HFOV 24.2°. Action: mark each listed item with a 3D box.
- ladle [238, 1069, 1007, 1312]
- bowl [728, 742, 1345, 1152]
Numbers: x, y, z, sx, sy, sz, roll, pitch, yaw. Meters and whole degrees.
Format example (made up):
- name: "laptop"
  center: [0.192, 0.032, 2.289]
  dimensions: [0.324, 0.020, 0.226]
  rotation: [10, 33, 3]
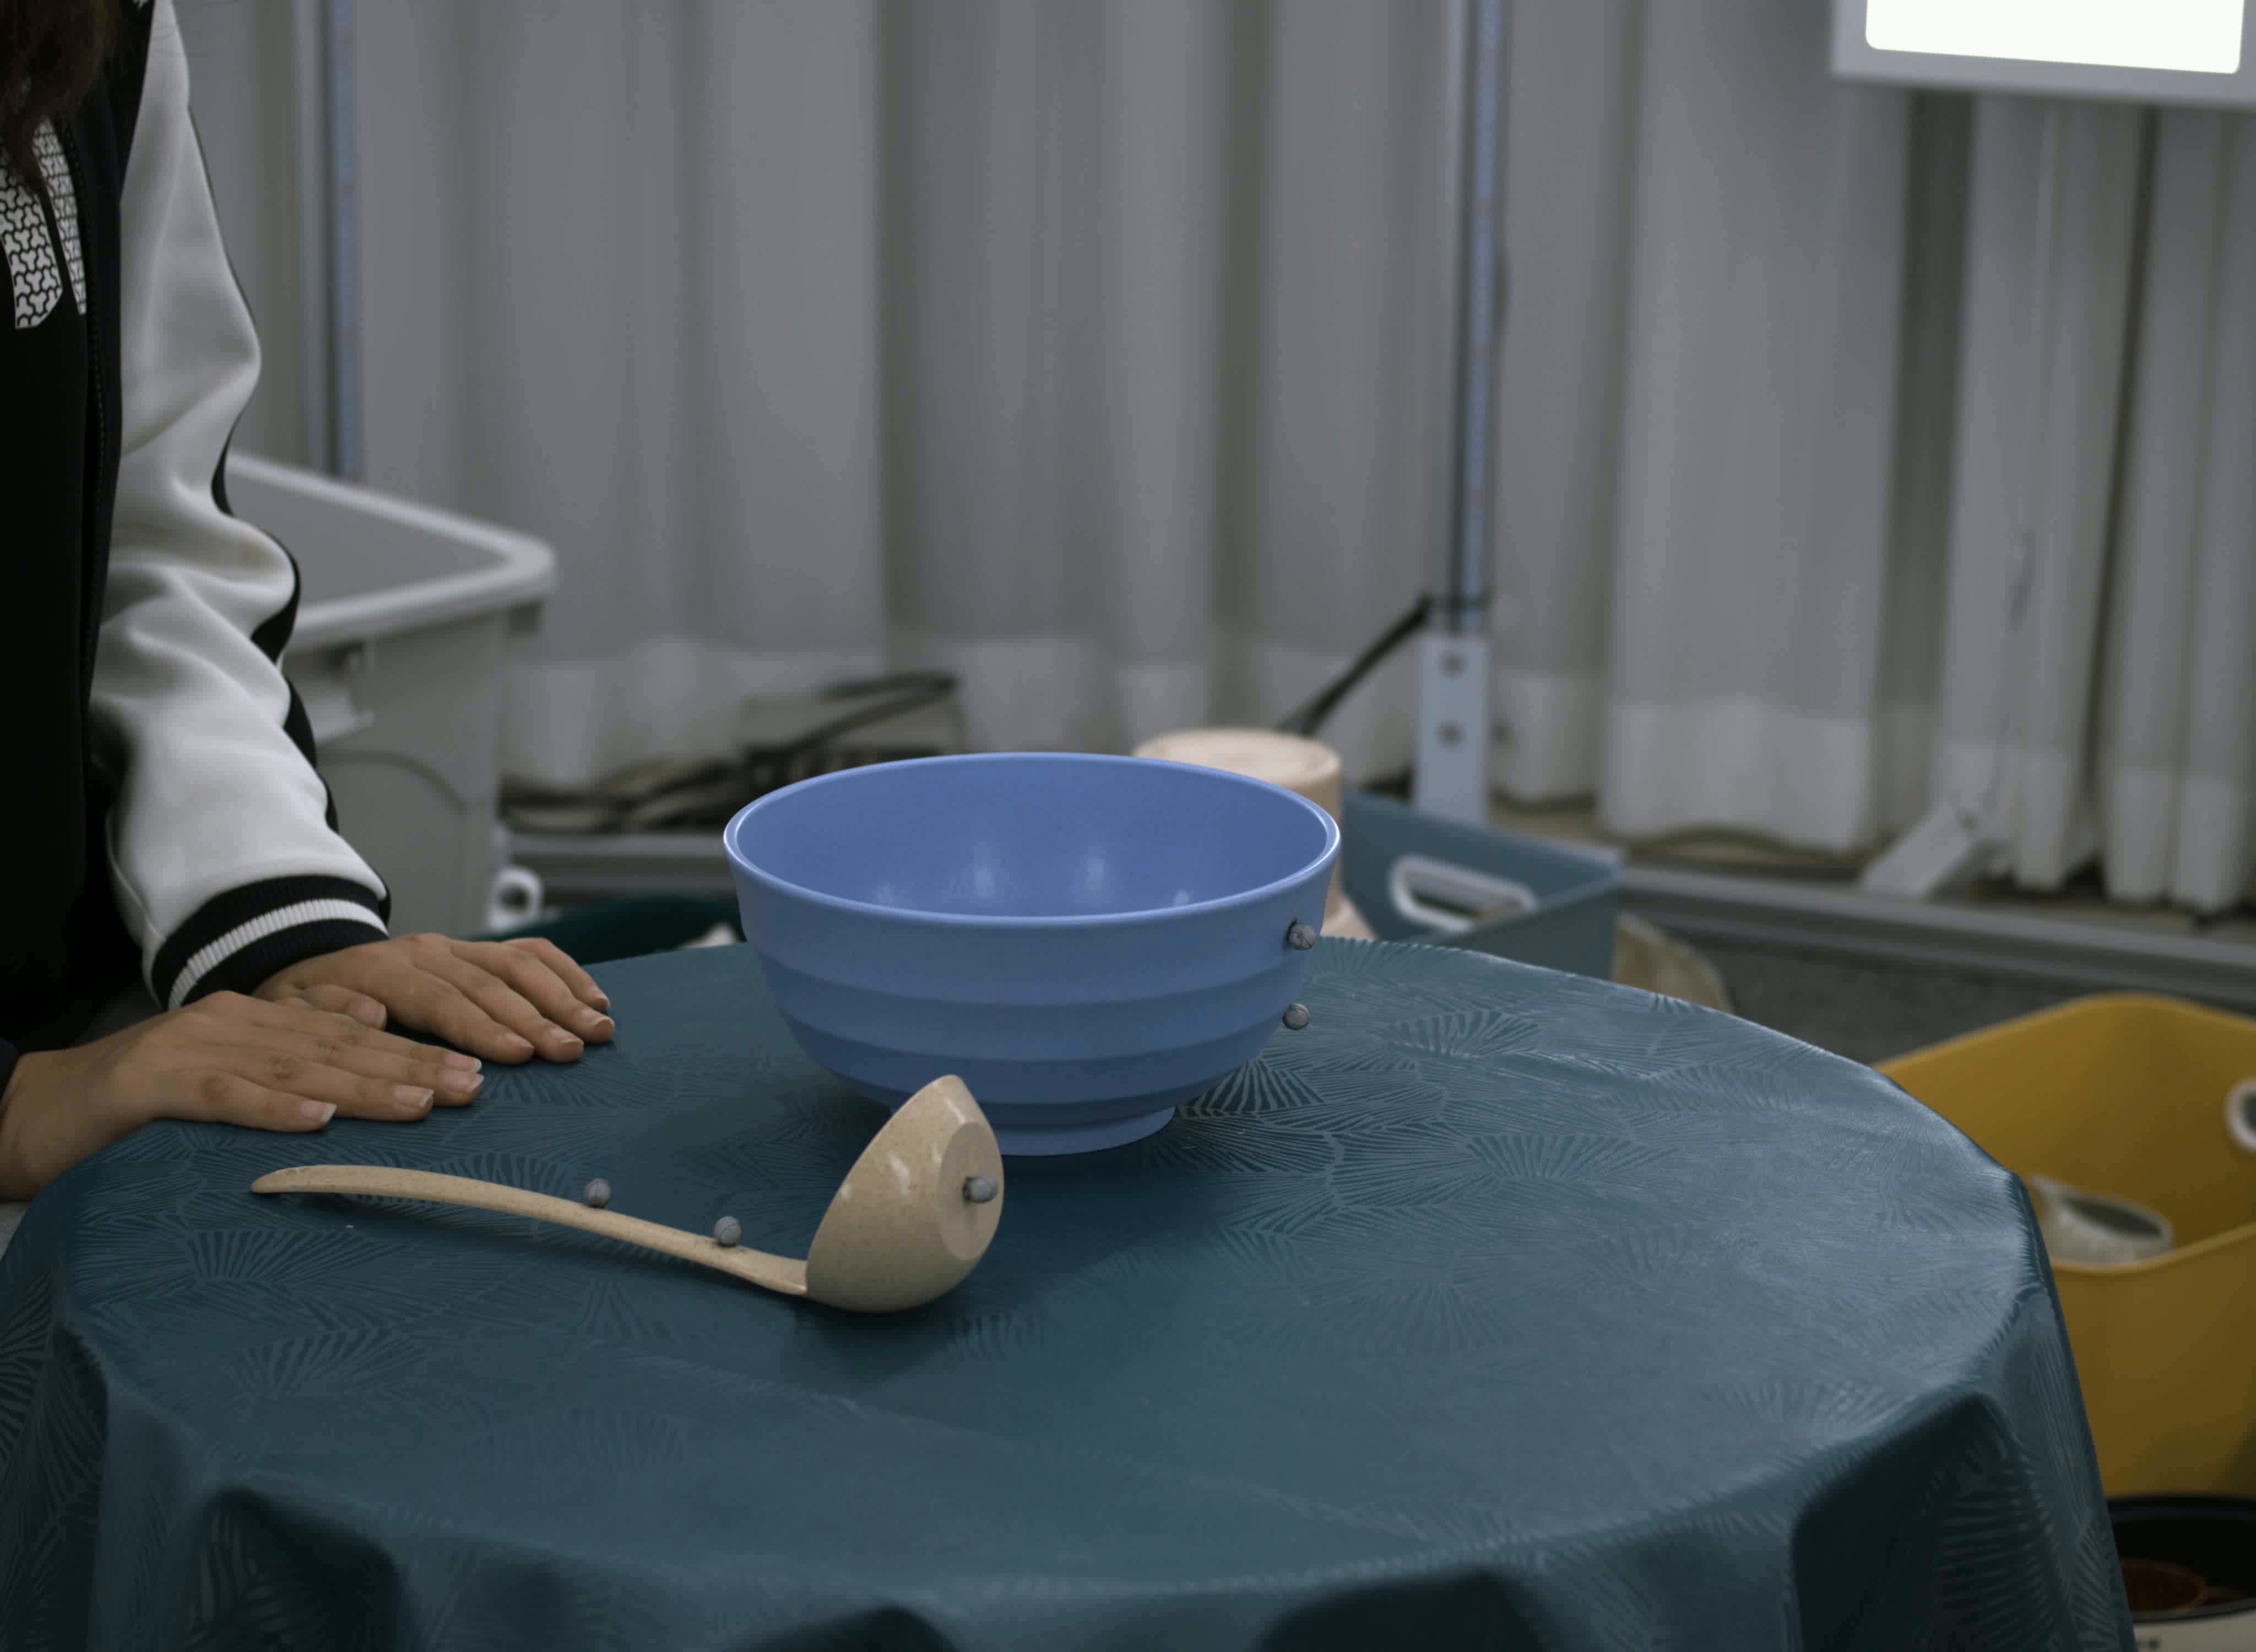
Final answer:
- name: "ladle"
  center: [-0.156, 0.092, 1.550]
  dimensions: [0.252, 0.073, 0.072]
  rotation: [7, 16, 23]
- name: "bowl"
  center: [-0.031, 0.044, 1.682]
  dimensions: [0.196, 0.096, 0.195]
  rotation: [3, 16, 0]
